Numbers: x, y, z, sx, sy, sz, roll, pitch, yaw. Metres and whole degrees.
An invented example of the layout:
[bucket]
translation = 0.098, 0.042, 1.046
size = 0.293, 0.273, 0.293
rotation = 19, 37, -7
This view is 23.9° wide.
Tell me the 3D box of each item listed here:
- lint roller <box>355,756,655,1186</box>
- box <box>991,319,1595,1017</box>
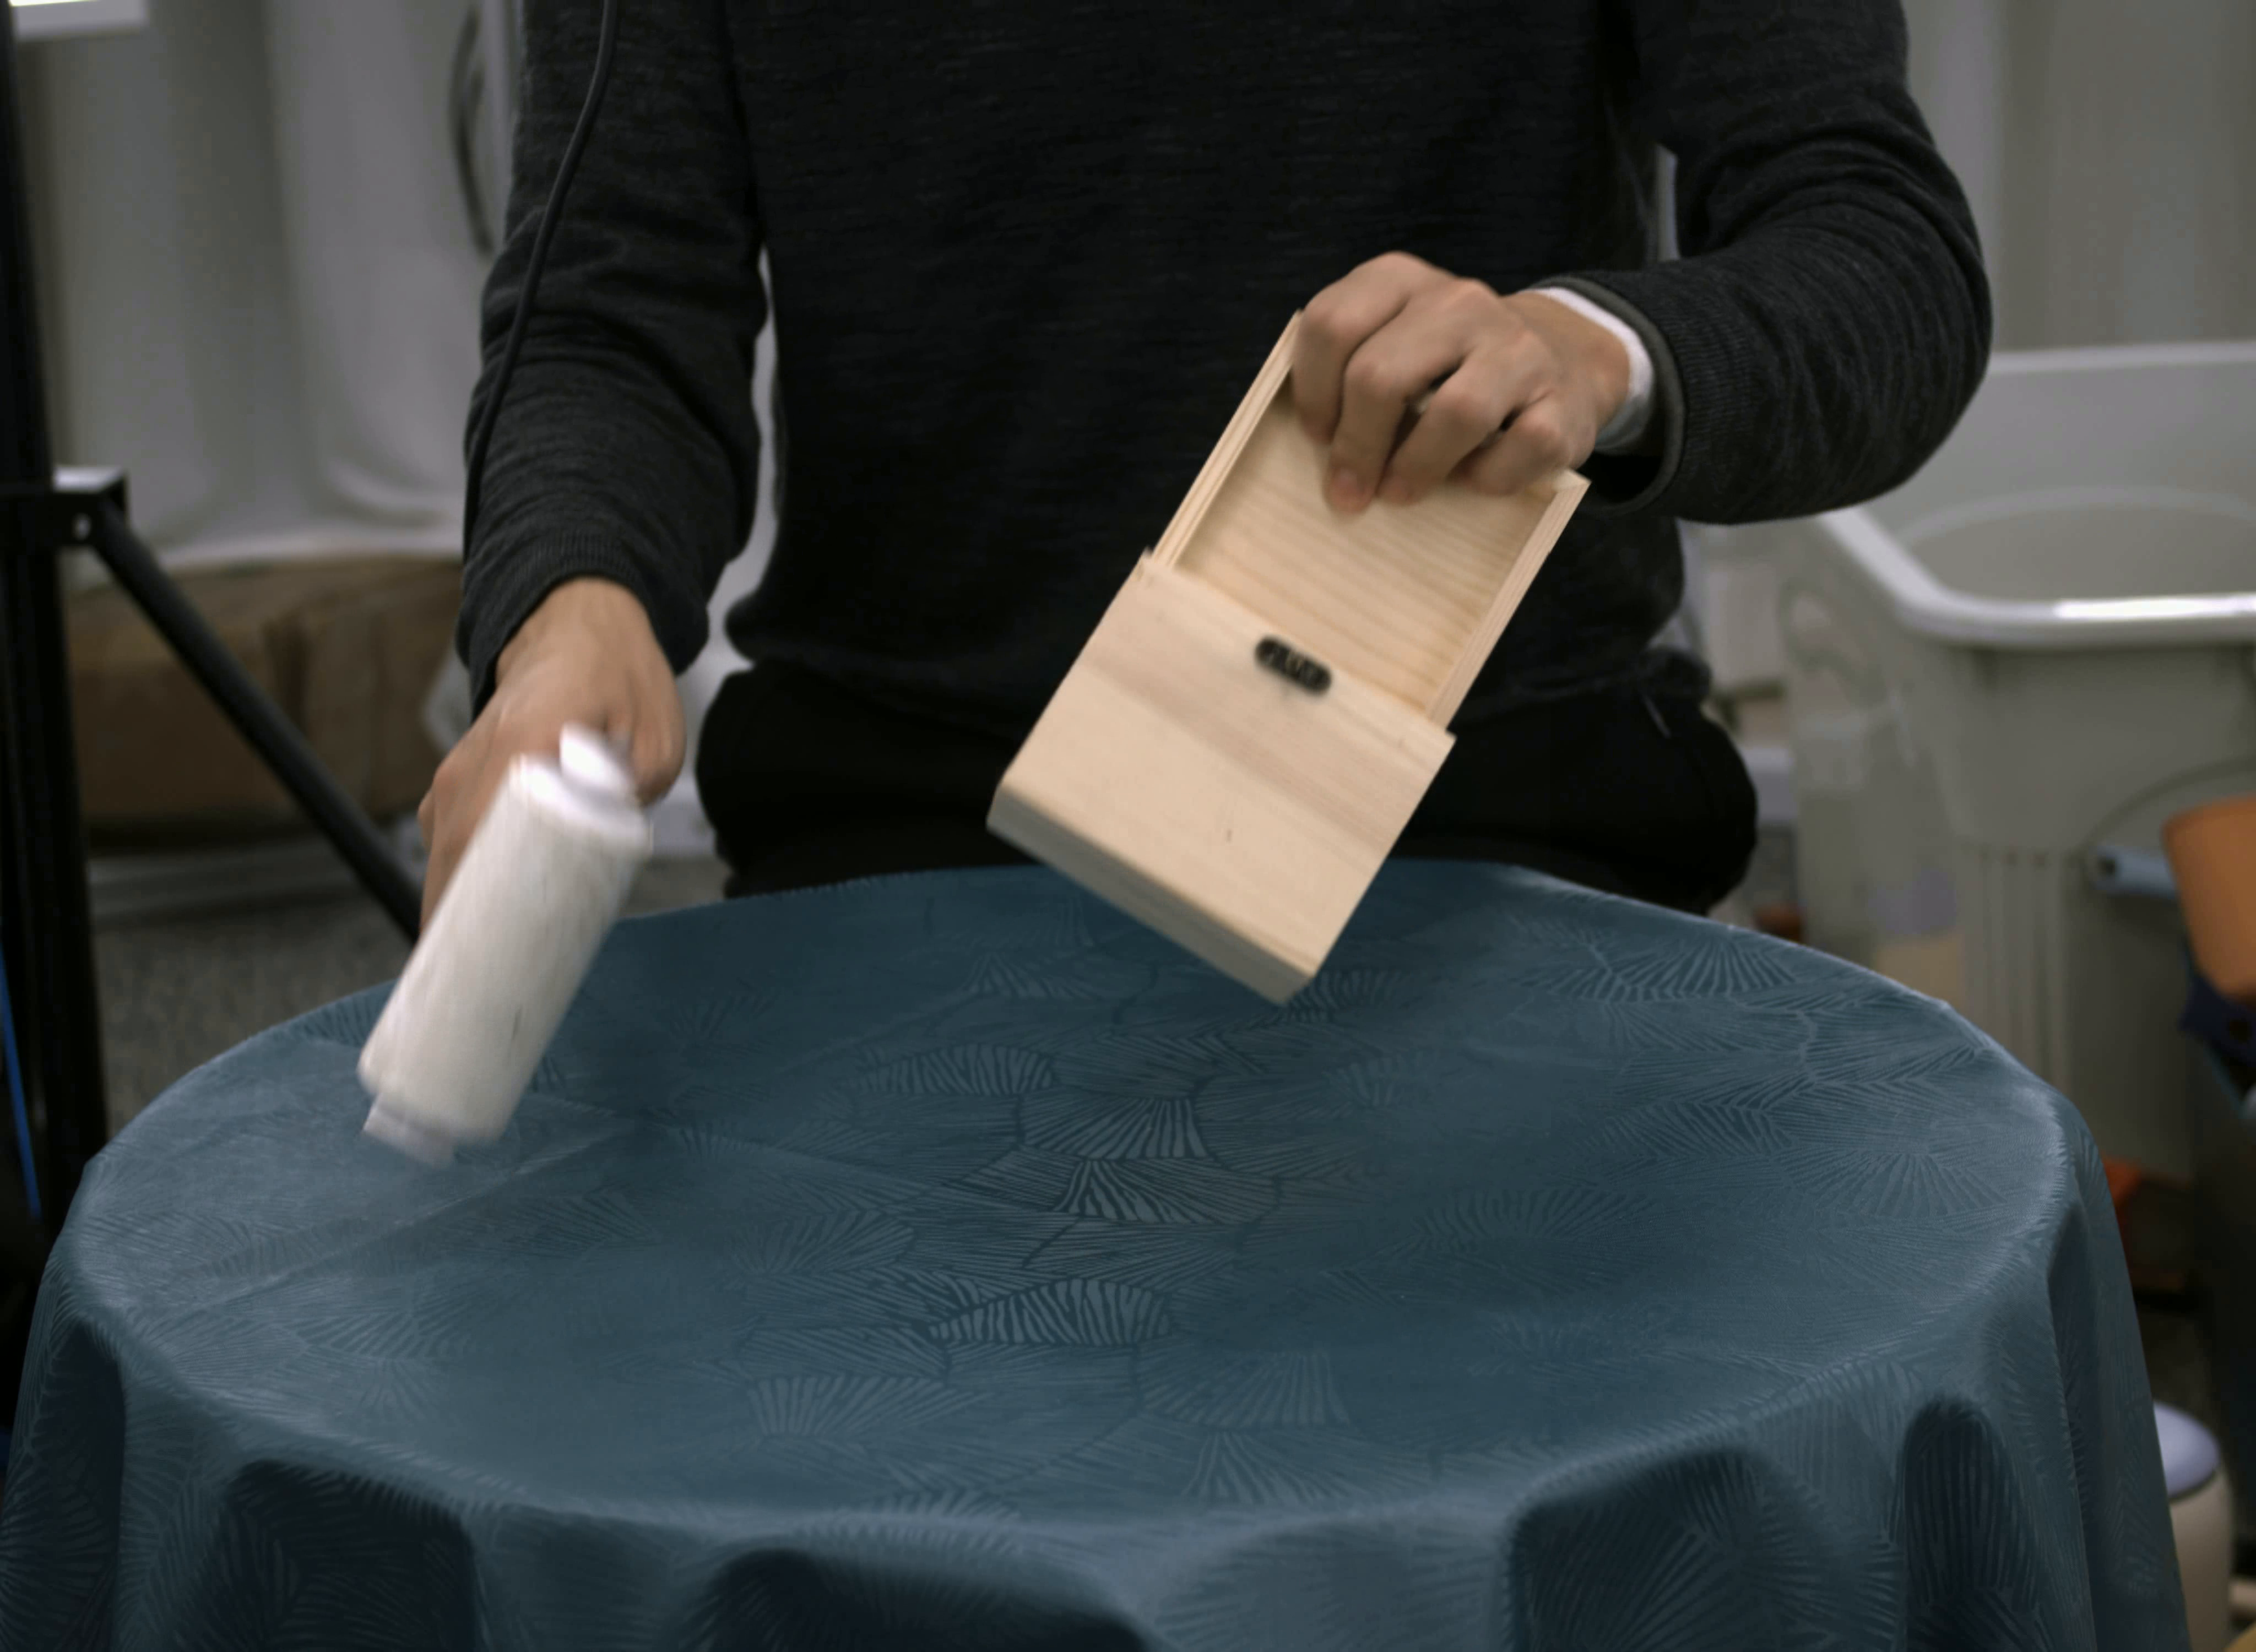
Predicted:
[lint roller]
translation = -0.188, 0.020, 1.593
size = 0.049, 0.133, 0.183
rotation = 26, 15, -18
[box]
translation = 0.051, -0.053, 1.507
size = 0.102, 0.184, 0.134
rotation = 31, -7, 2
